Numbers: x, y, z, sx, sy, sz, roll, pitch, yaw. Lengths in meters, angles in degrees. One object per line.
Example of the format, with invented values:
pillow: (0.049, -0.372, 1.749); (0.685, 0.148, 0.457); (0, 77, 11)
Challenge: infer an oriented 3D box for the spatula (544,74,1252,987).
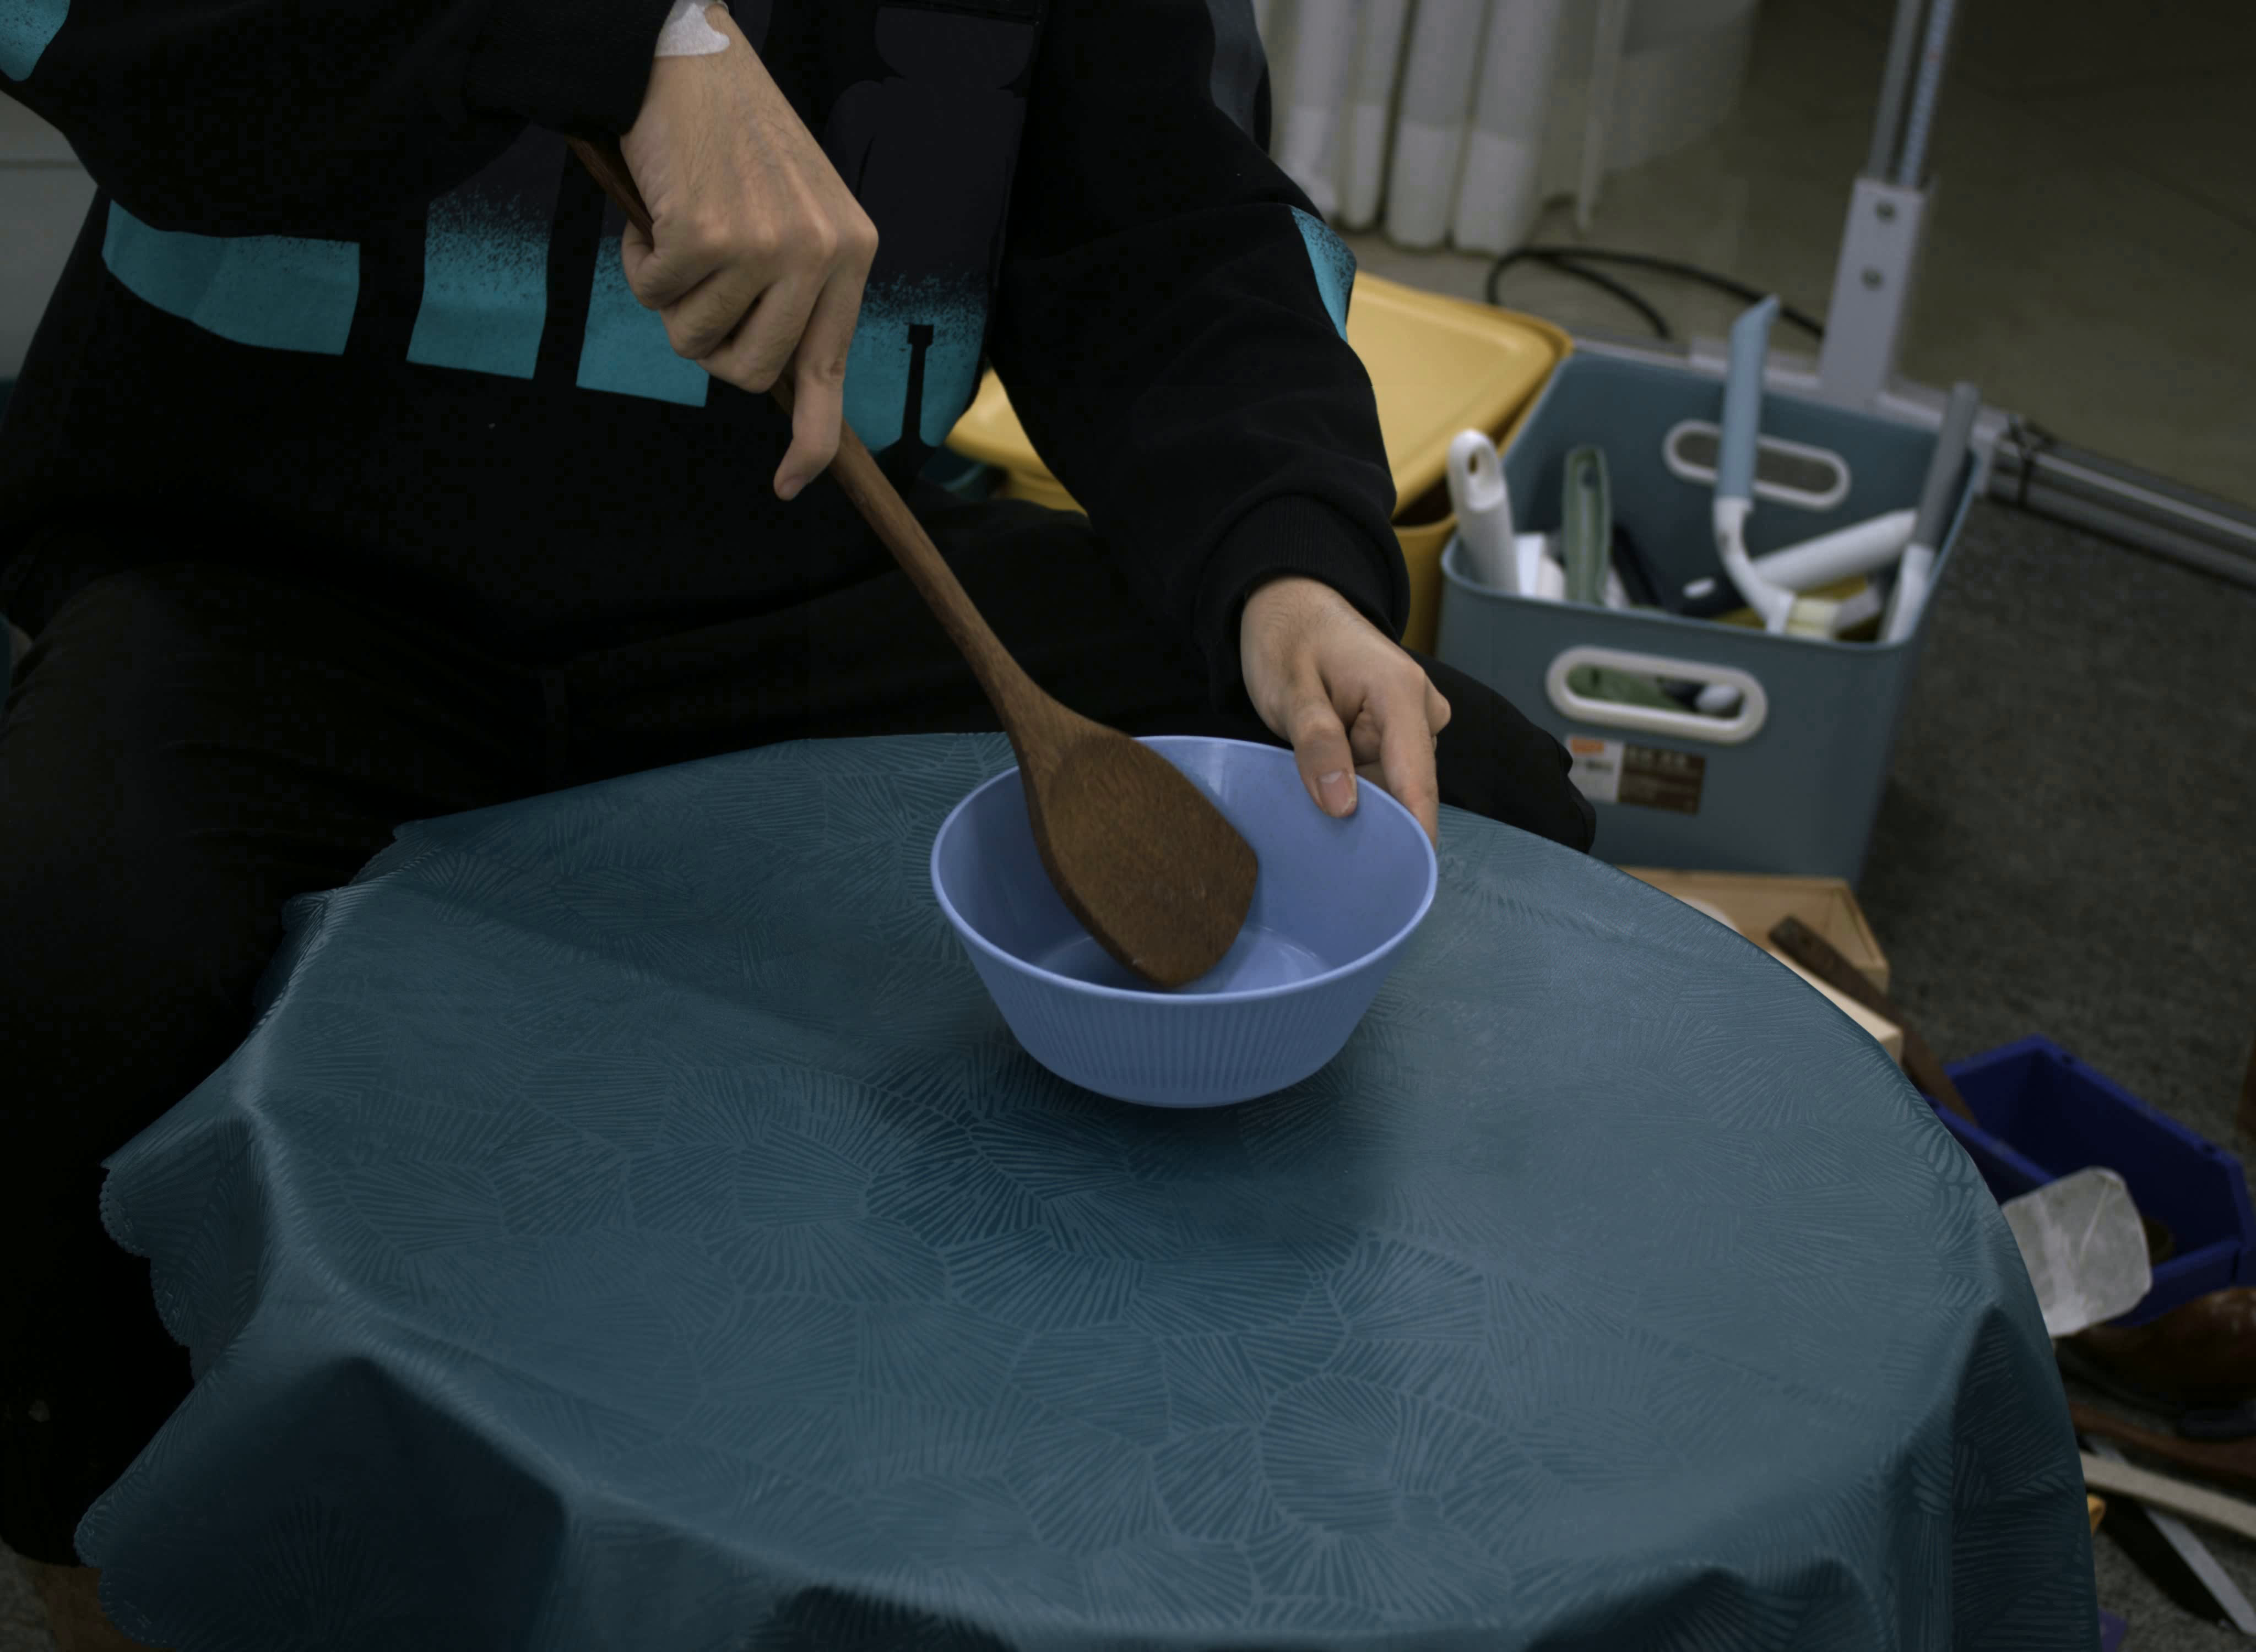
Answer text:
spatula: (-0.081, -0.104, 1.844); (0.016, 0.385, 0.096); (-29, 13, 37)

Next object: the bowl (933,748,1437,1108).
bowl: (0.019, 0.042, 1.856); (0.175, 0.070, 0.177); (0, 29, -1)
